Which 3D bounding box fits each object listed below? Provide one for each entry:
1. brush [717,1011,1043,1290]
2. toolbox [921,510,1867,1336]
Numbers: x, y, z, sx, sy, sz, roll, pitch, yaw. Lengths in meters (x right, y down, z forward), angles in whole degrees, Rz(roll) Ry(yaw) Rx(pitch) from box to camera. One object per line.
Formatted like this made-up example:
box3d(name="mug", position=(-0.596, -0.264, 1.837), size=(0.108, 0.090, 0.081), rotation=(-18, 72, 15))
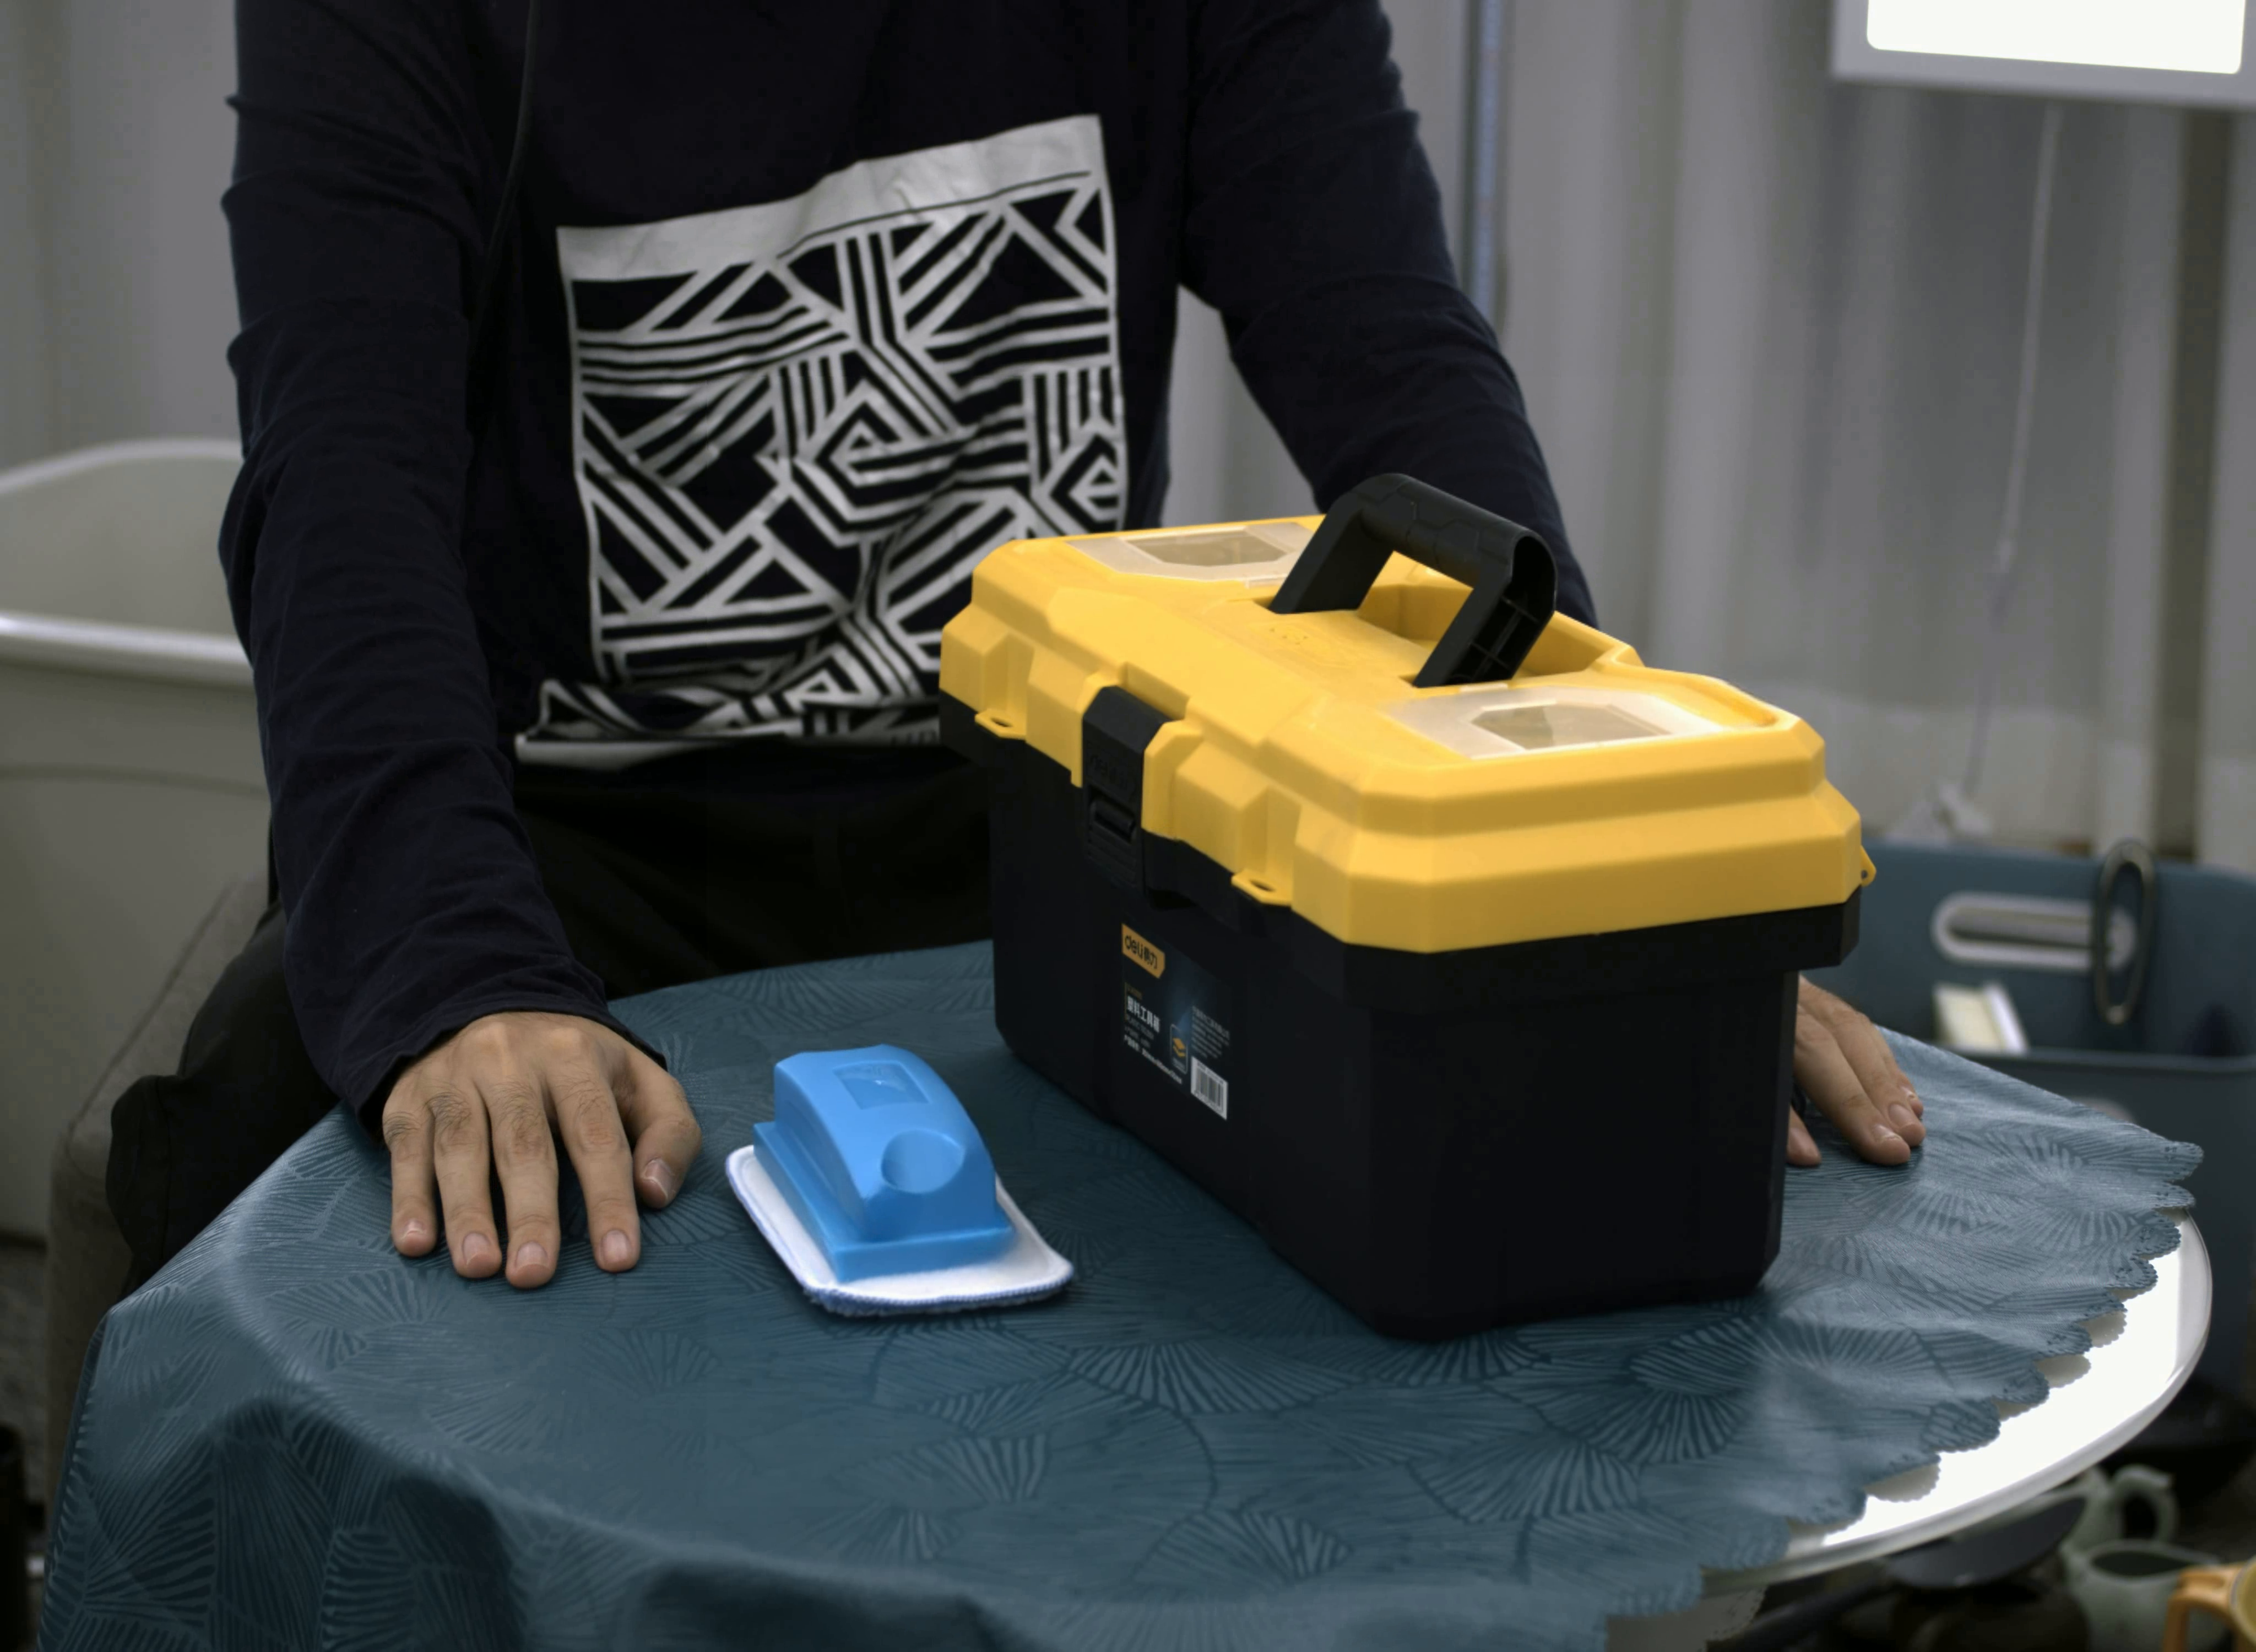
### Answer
box3d(name="brush", position=(-0.073, 0.094, 1.575), size=(0.084, 0.056, 0.142), rotation=(0, 17, -14))
box3d(name="toolbox", position=(0.073, 0.021, 1.630), size=(0.182, 0.174, 0.347), rotation=(-6, 17, -23))
